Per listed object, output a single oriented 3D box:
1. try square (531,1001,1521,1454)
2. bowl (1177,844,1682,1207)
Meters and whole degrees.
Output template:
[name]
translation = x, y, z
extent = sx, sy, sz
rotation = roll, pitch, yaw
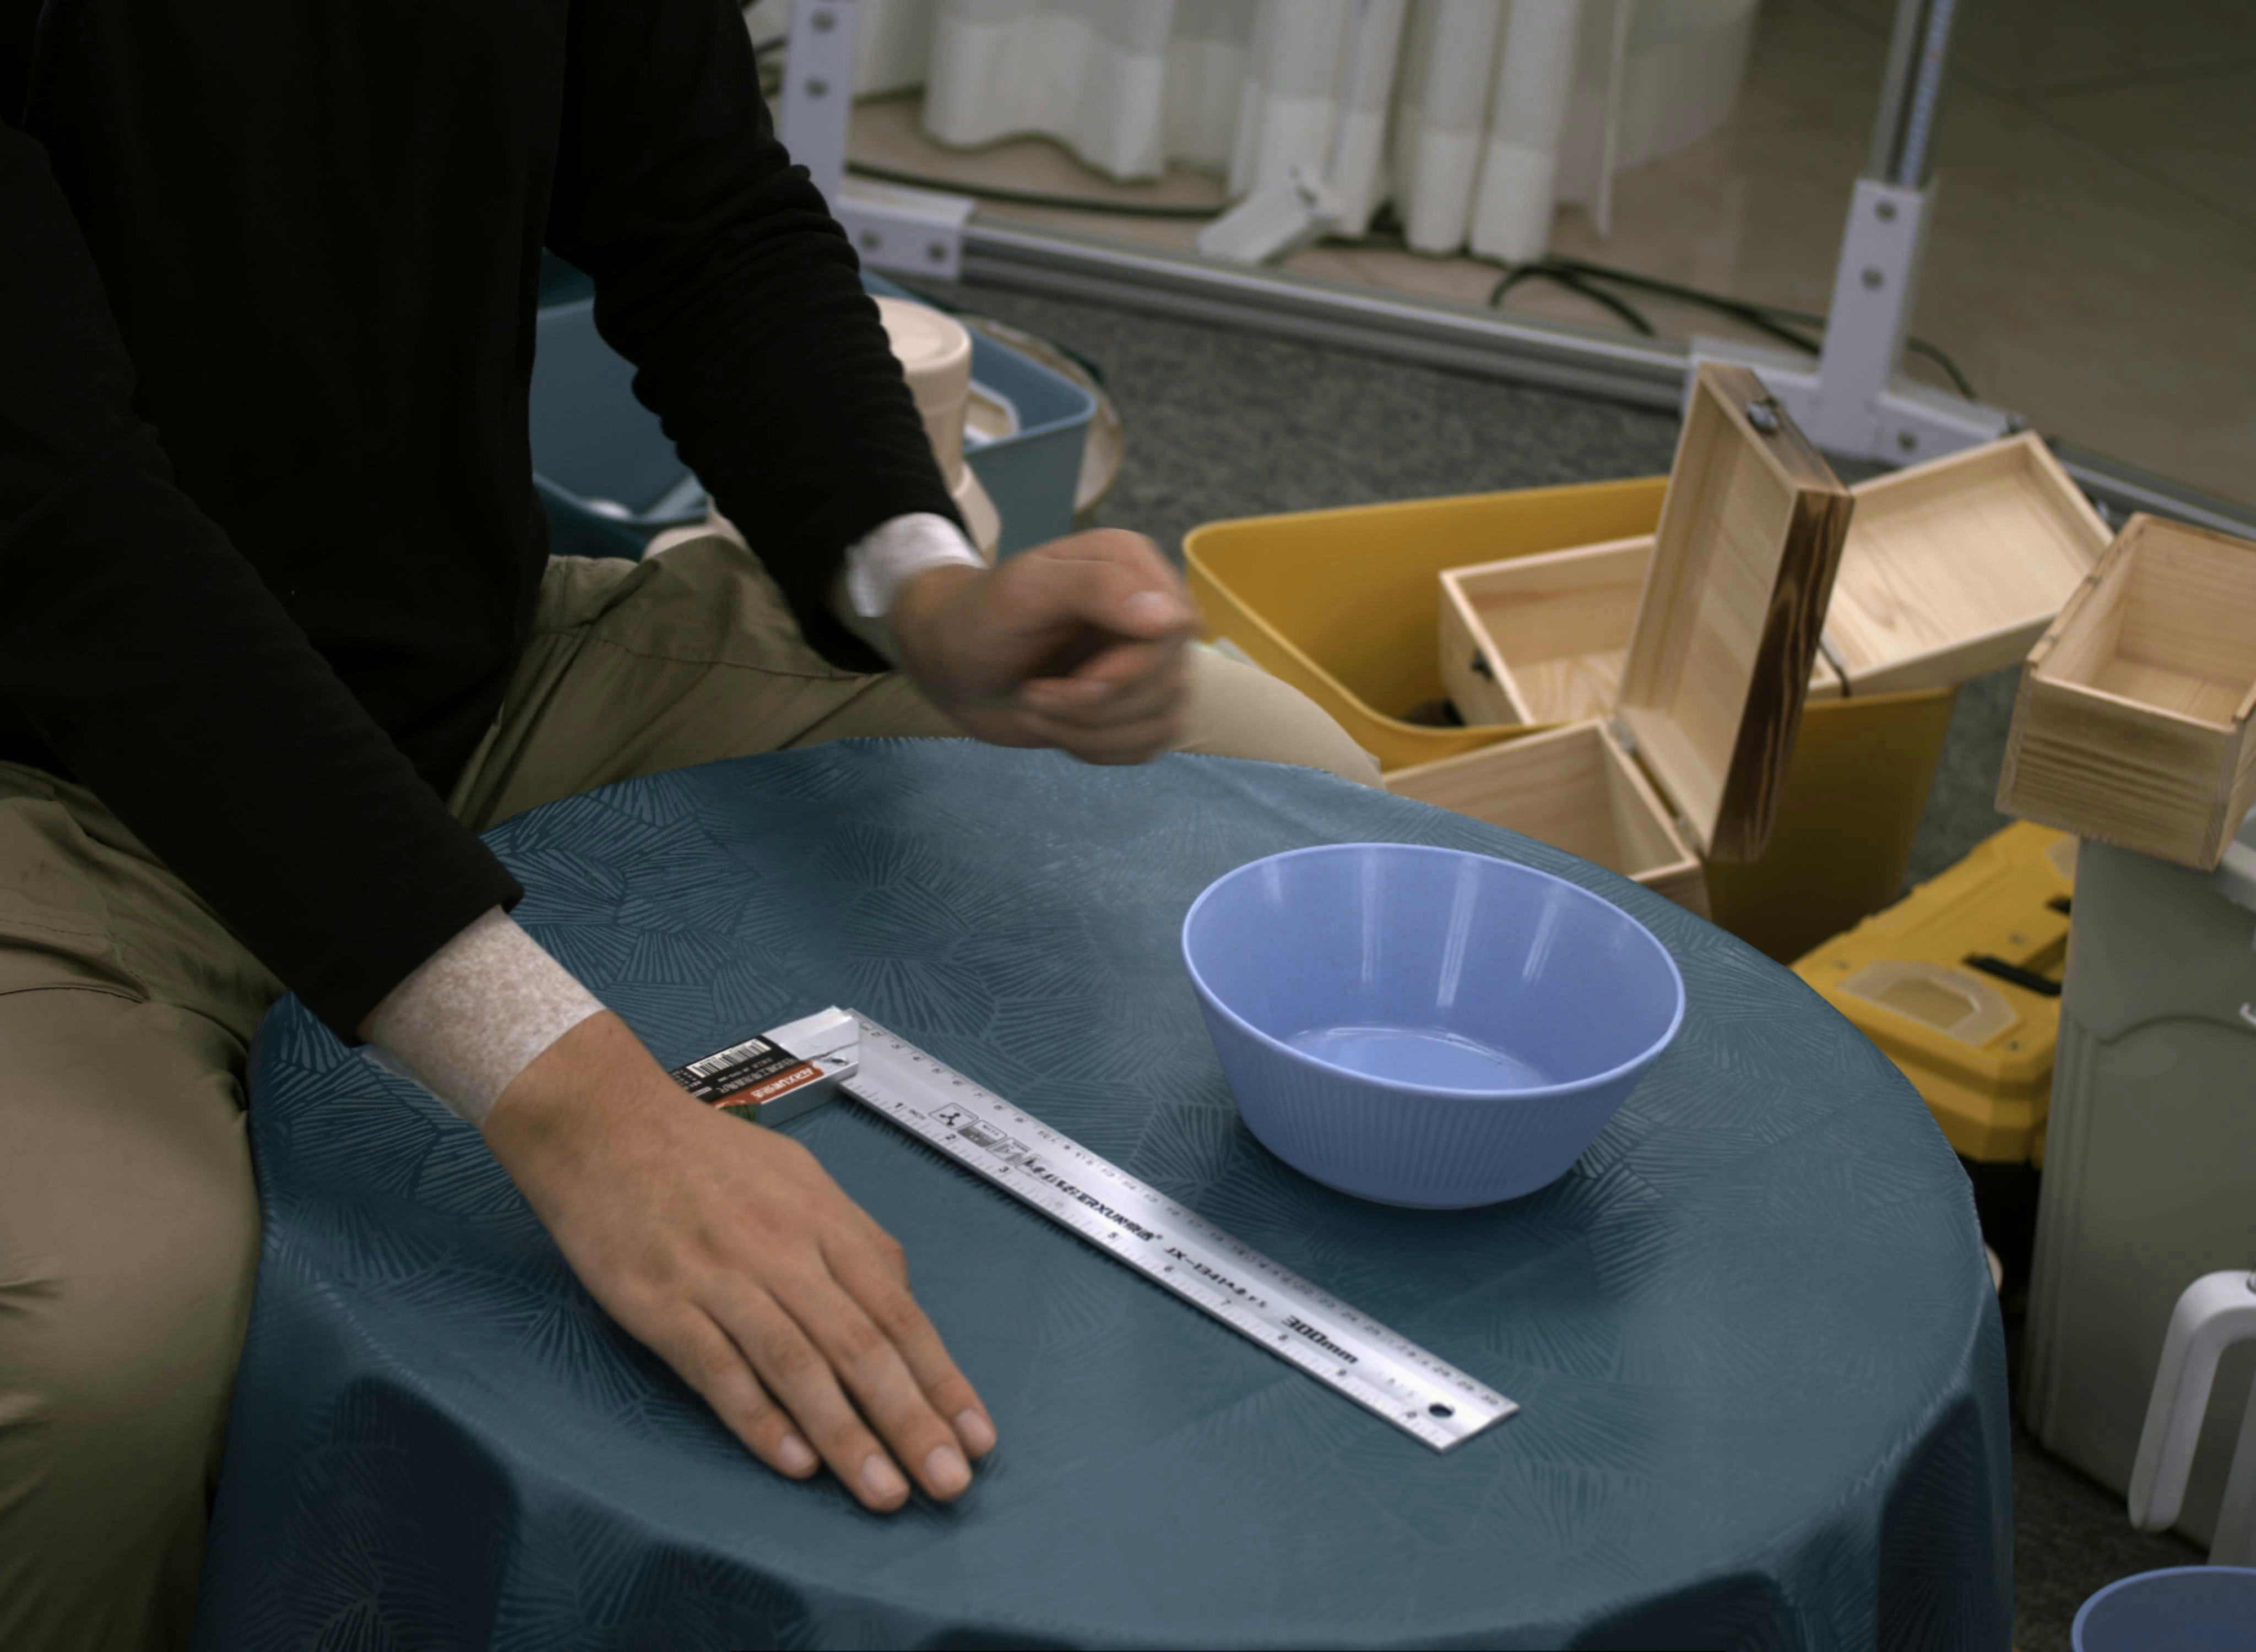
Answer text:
[try square]
translation = -0.038, 0.147, 1.744
extent = 0.315, 0.016, 0.151
rotation = 29, 37, 35
[bowl]
translation = 0.100, 0.075, 1.844
extent = 0.175, 0.070, 0.177
rotation = 5, 27, -3
